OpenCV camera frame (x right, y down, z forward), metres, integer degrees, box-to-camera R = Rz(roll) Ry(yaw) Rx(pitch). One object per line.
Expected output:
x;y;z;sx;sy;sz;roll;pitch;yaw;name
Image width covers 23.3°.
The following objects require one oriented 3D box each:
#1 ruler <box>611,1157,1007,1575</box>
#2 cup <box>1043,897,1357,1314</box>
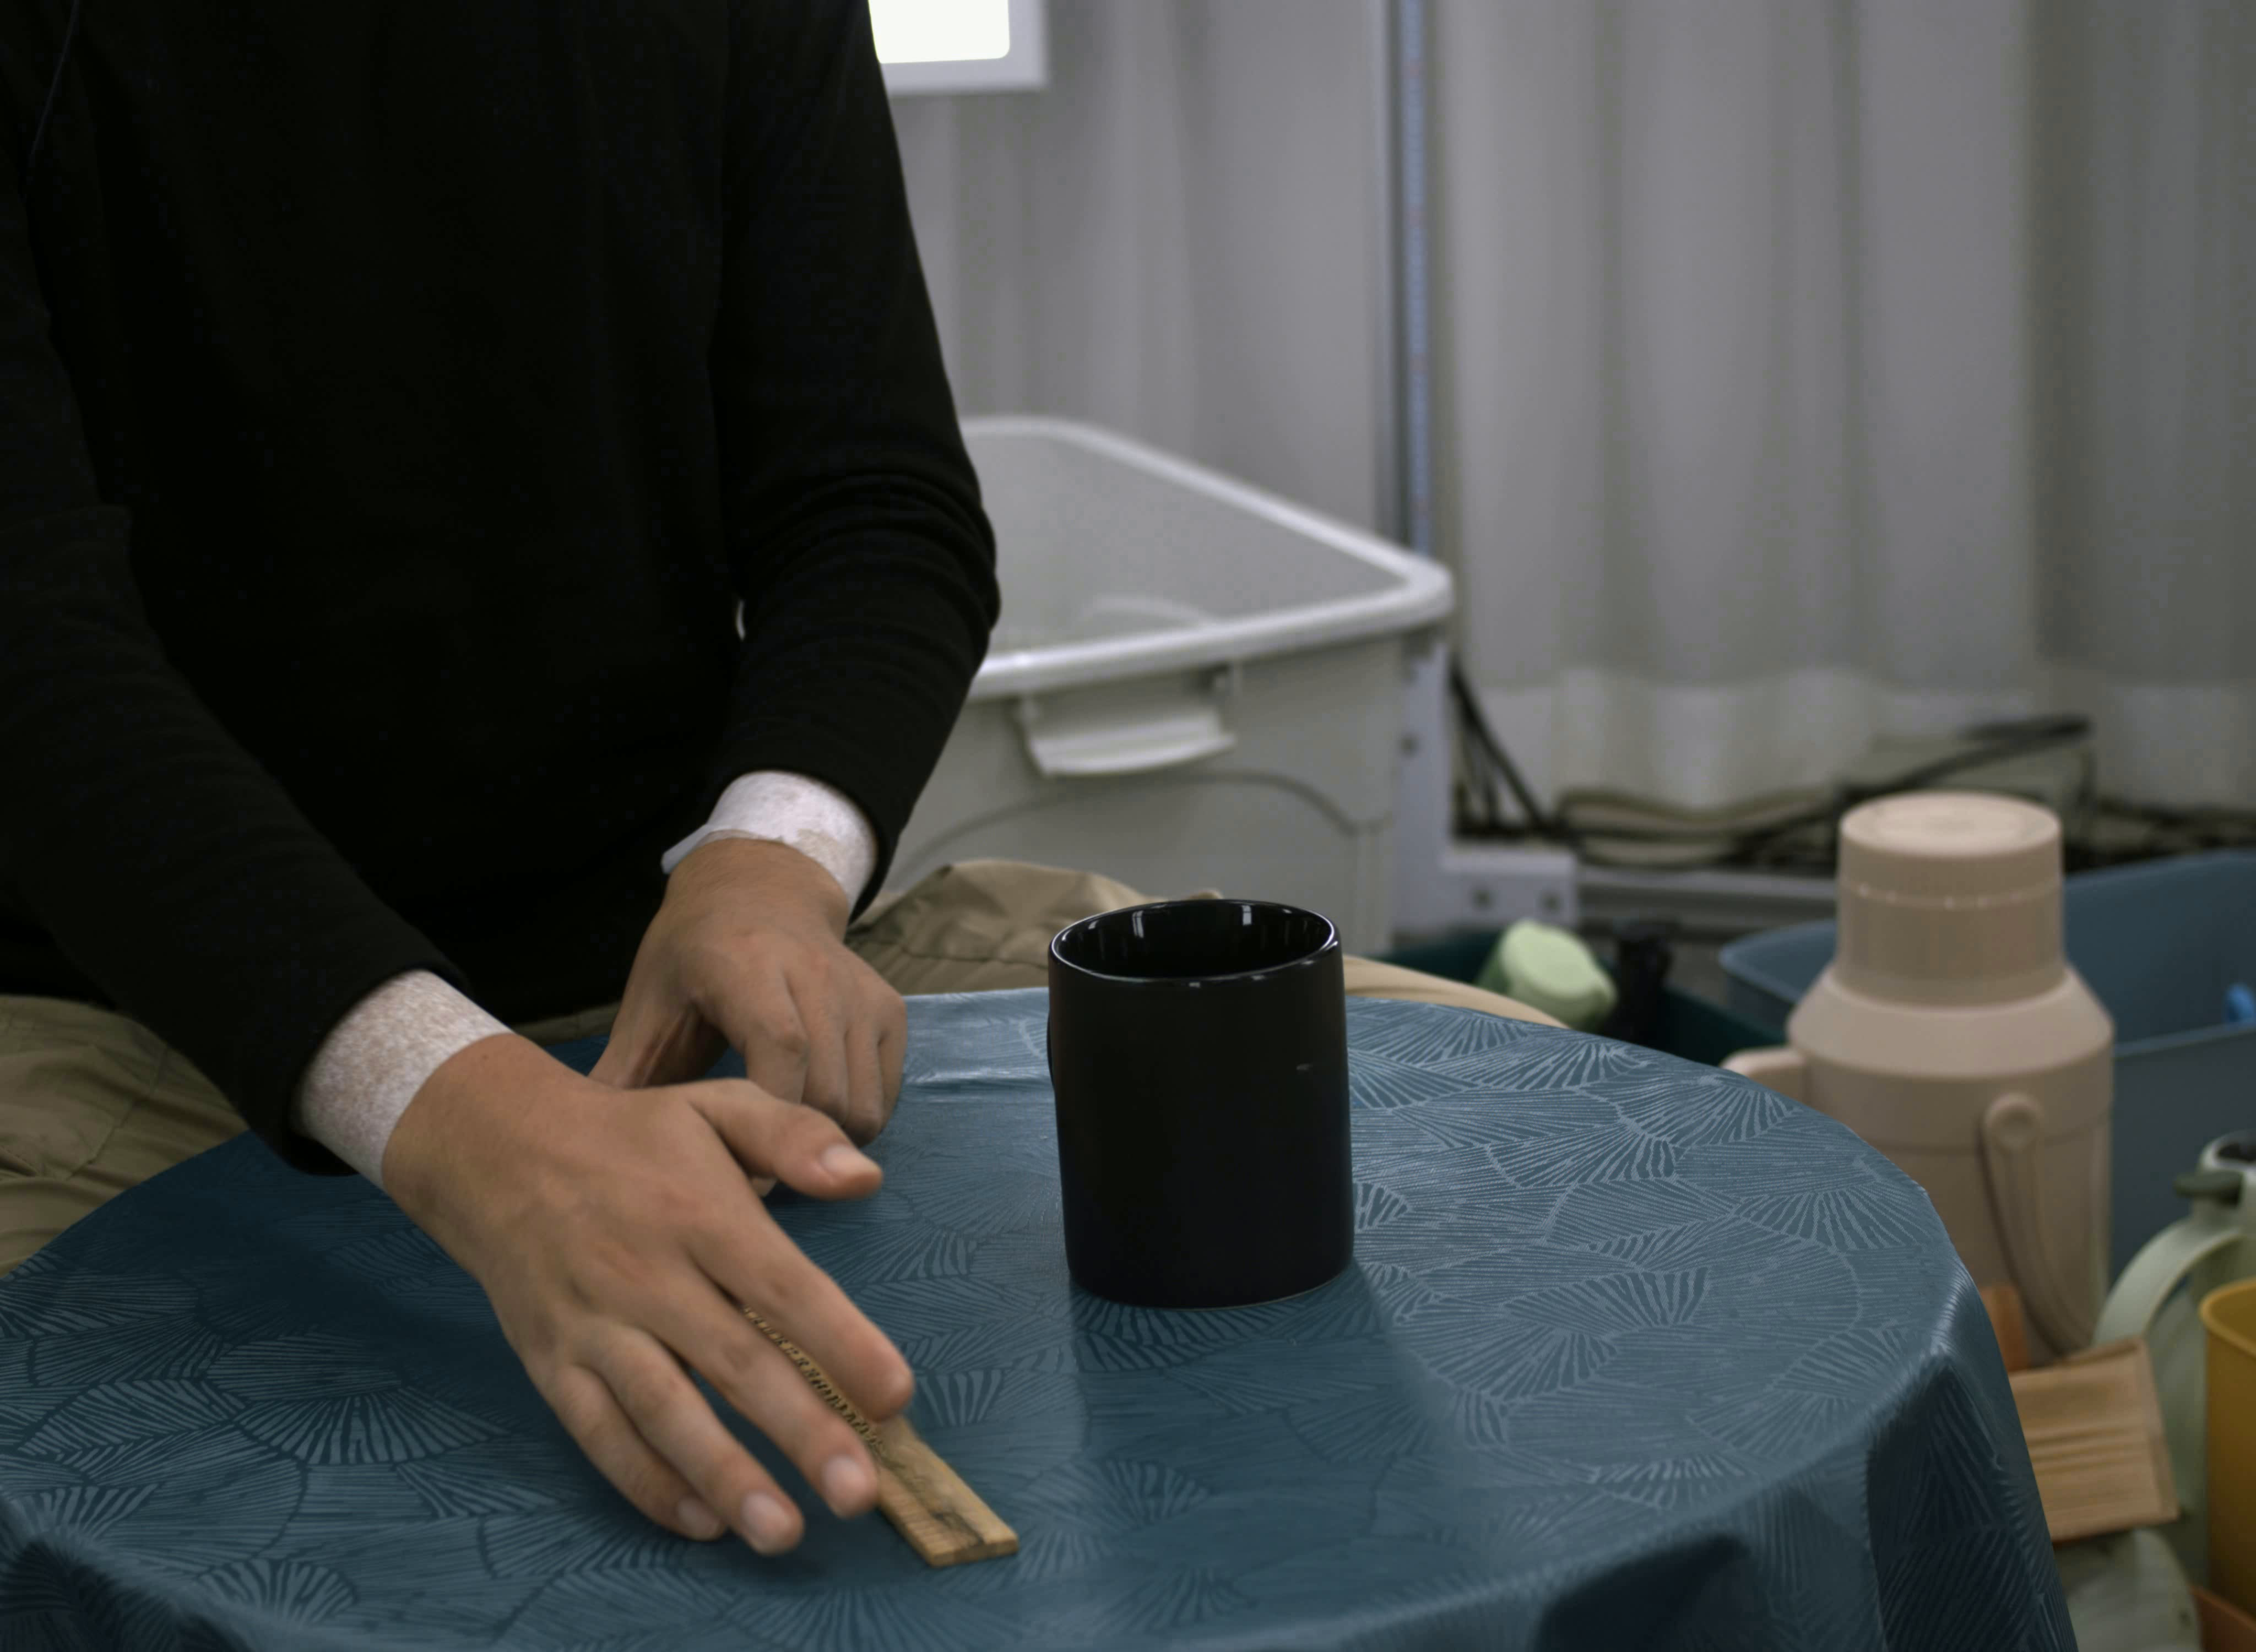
-0.098;0.149;1.581;0.027;0.022;0.334;-3;15;-19;ruler
0.013;0.079;1.648;0.088;0.105;0.124;-12;16;-28;cup
